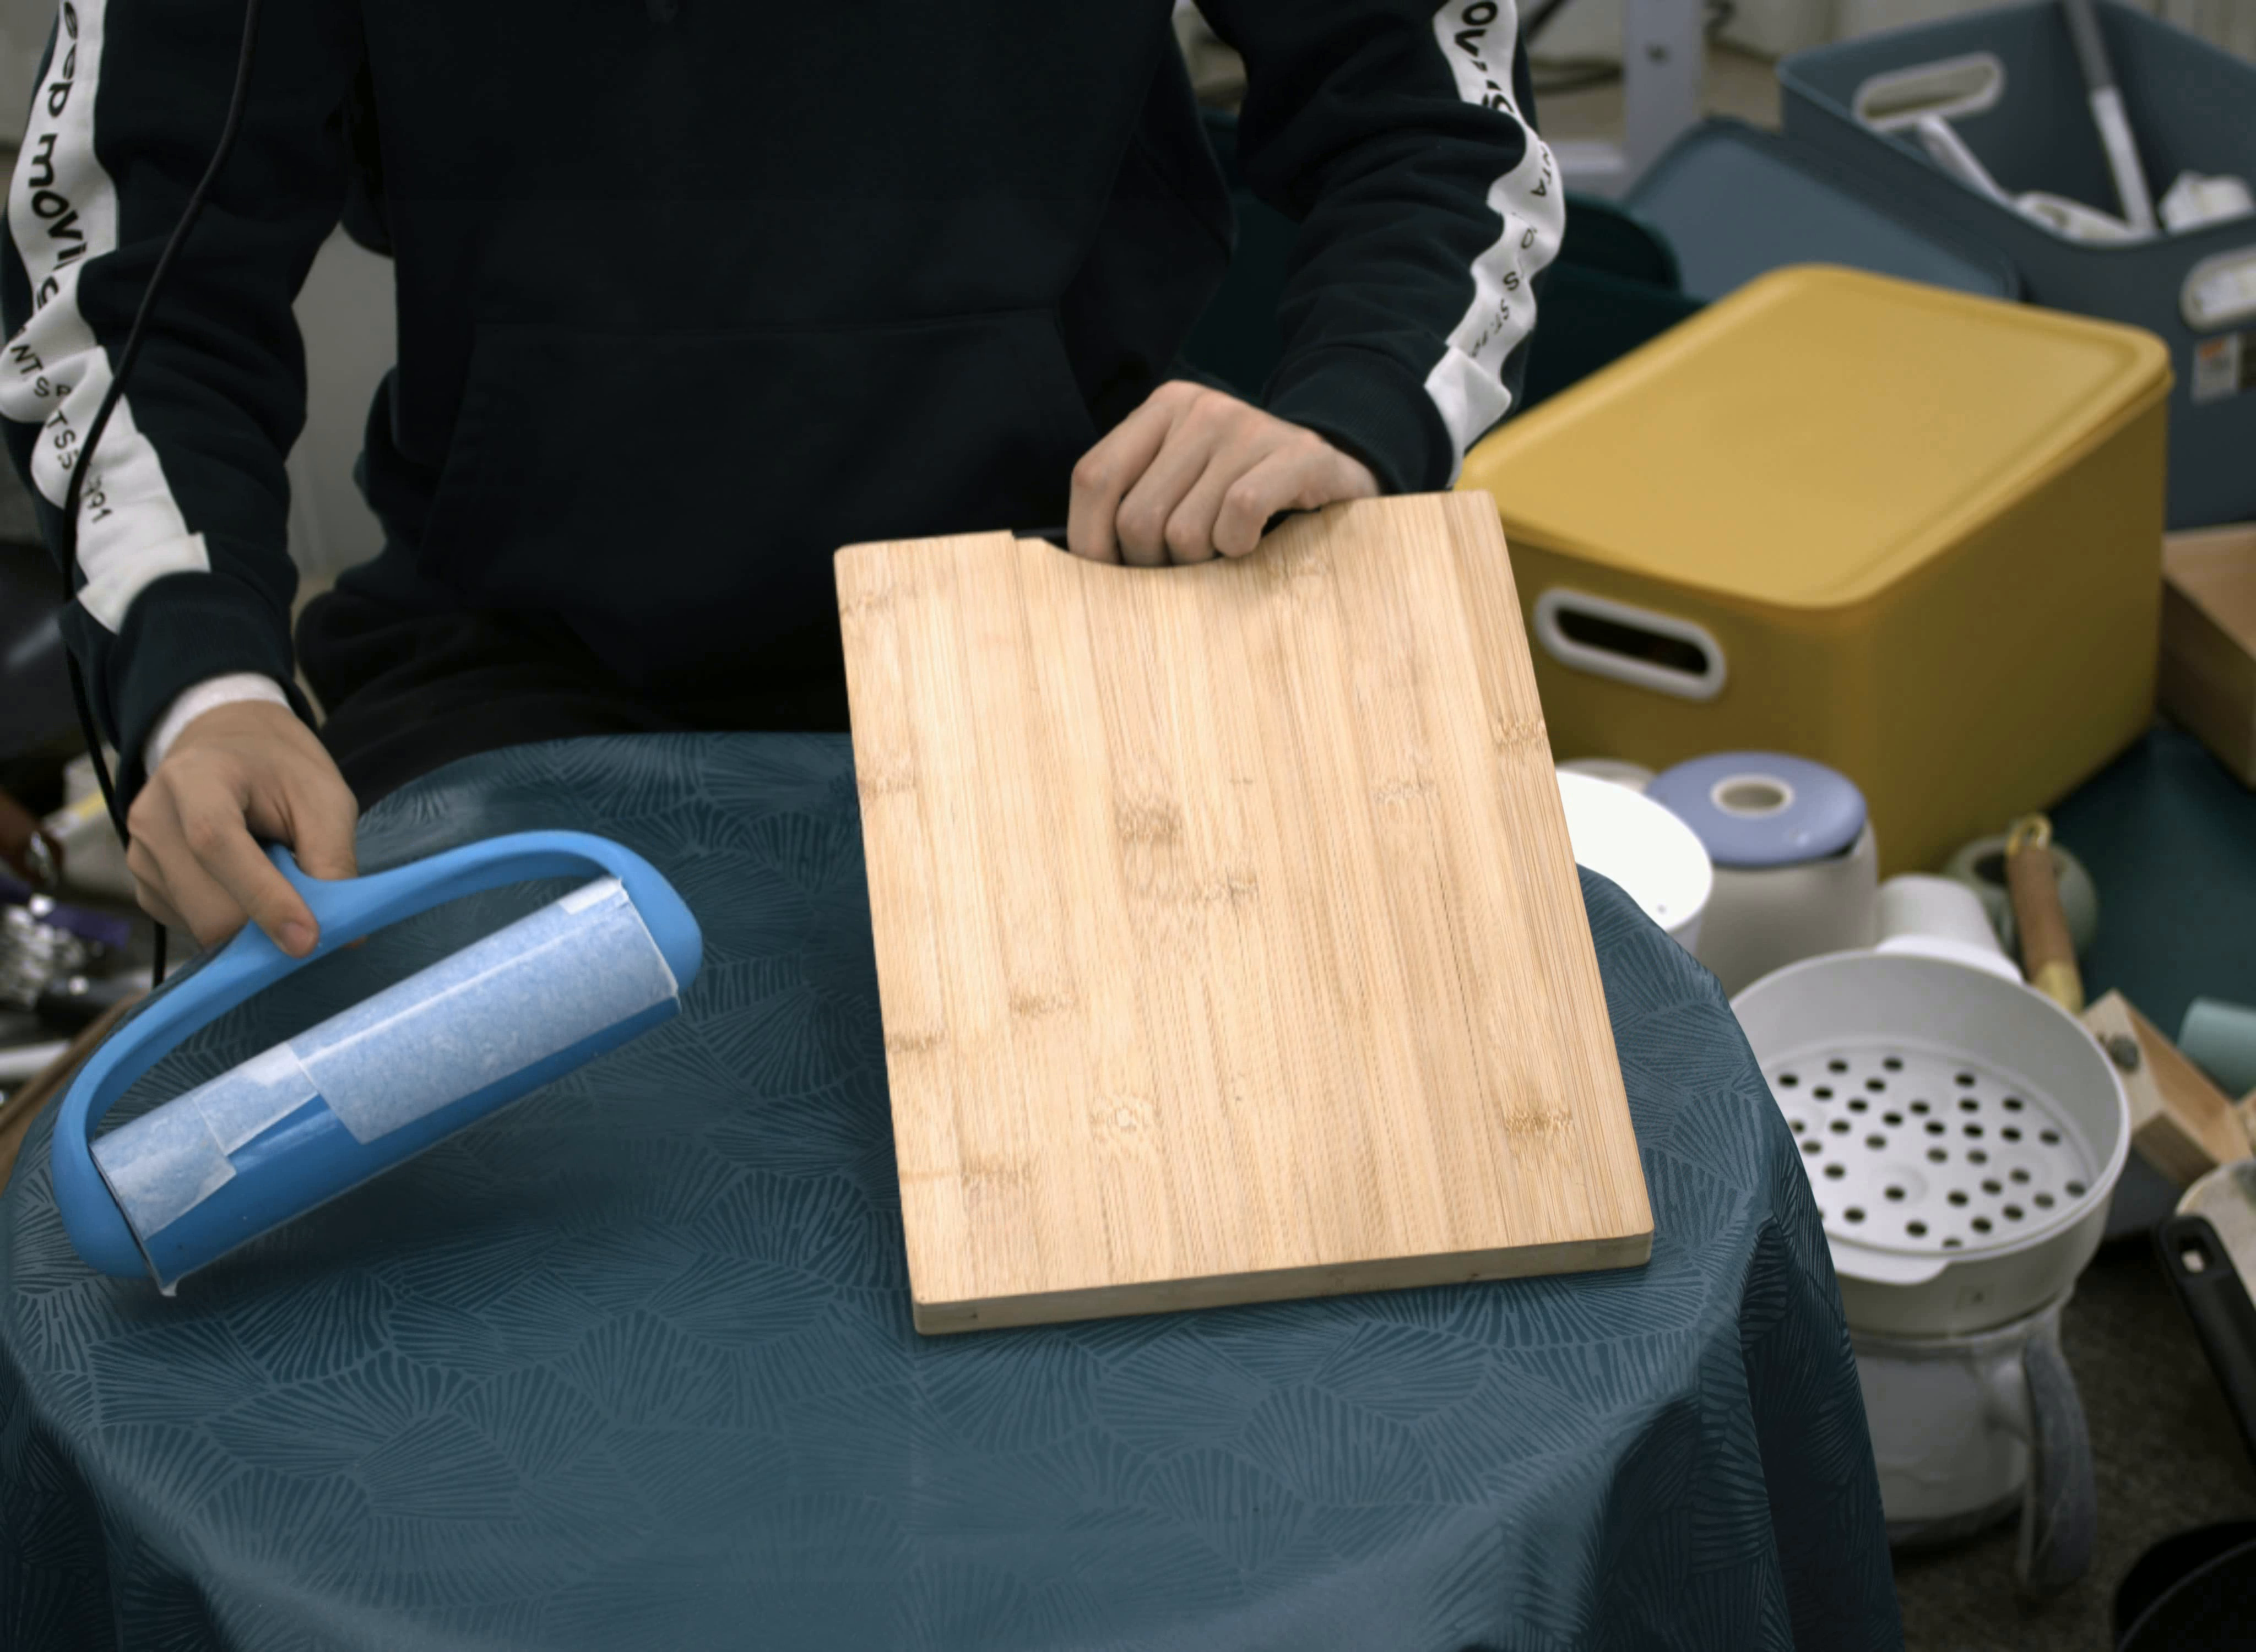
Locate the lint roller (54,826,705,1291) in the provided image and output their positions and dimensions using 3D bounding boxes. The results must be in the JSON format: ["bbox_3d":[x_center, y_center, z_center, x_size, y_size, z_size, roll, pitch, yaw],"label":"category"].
[{"bbox_3d":[-0.272,0.049,1.875,0.230,0.067,0.181,-31,48,-15],"label":"lint roller"}]

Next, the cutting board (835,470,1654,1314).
[{"bbox_3d":[0.032,0.017,1.912,0.250,0.023,0.355,-5,48,-5],"label":"cutting board"}]
